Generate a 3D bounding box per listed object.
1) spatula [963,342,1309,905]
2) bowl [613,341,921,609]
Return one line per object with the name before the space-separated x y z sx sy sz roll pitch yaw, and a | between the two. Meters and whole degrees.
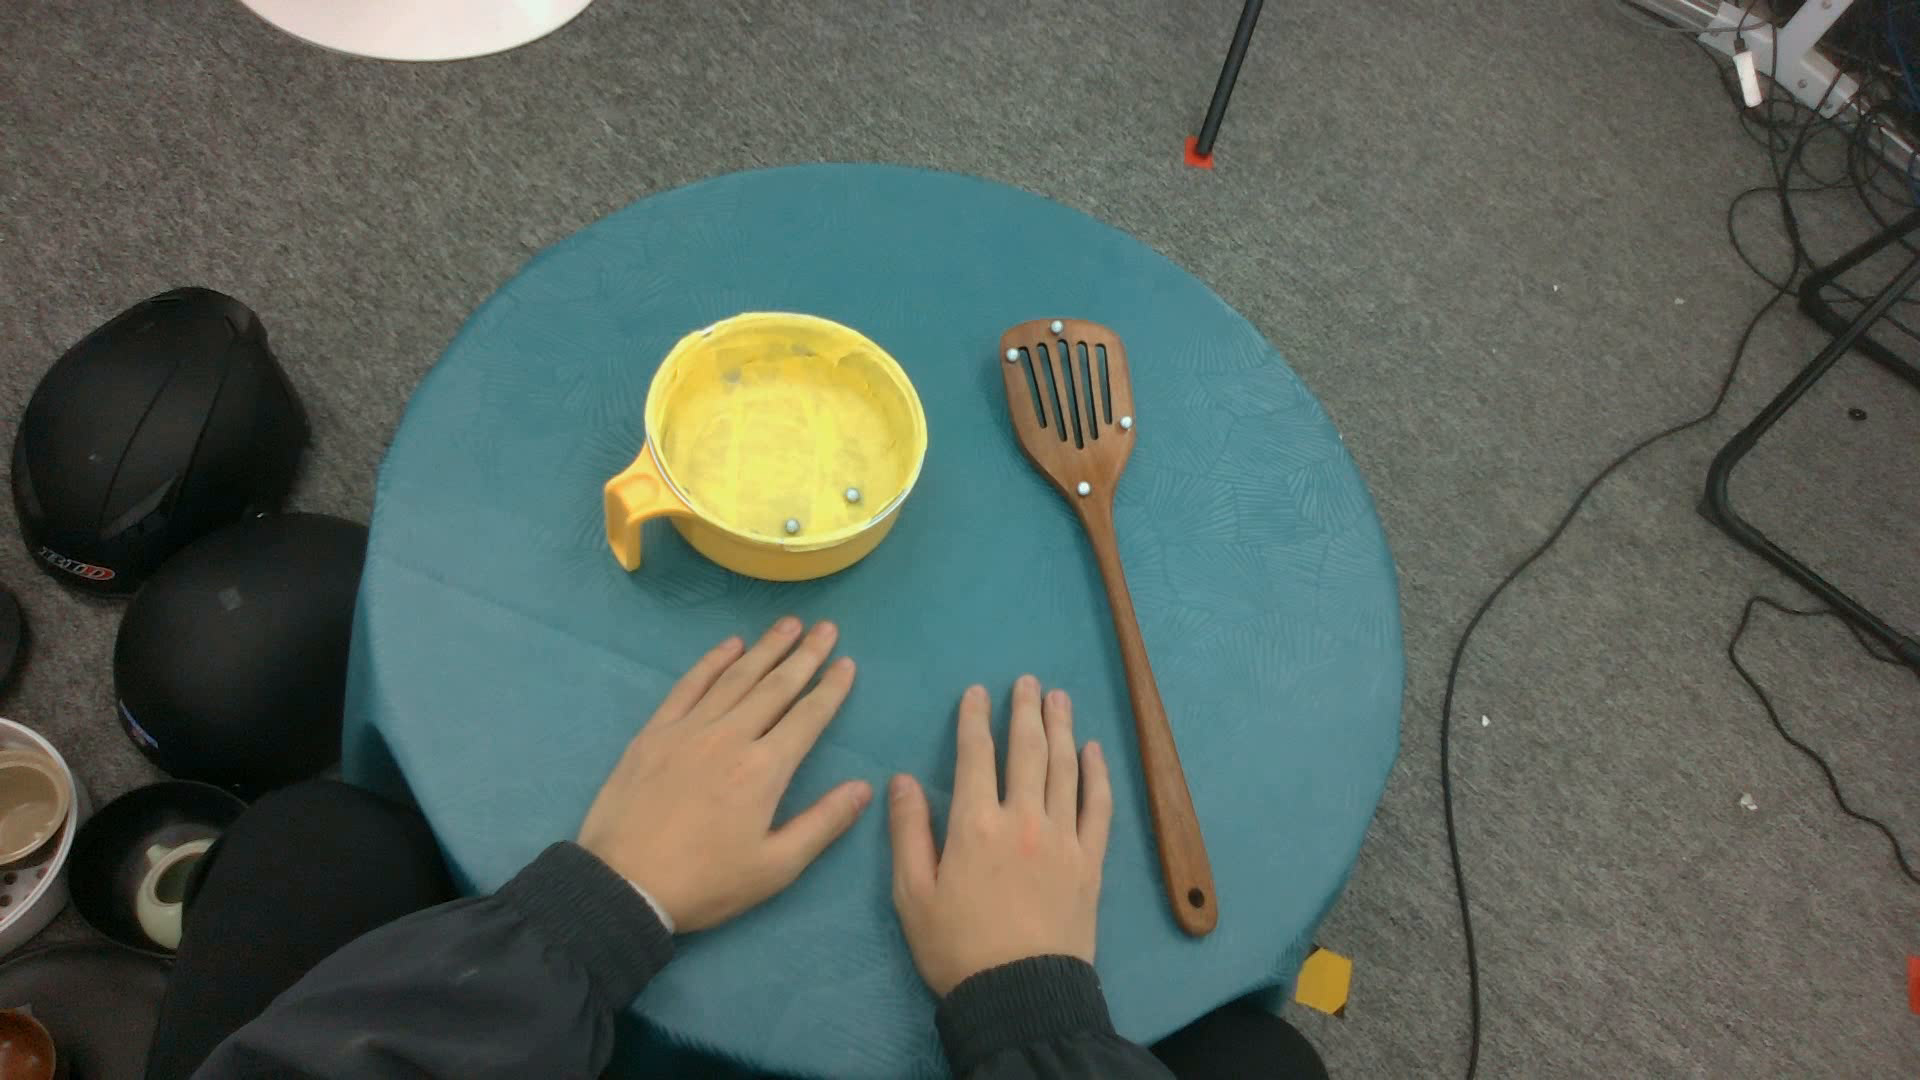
spatula | 0.107 0.036 0.816 0.085 0.024 0.387 -19 62 -11
bowl | -0.112 -0.030 0.784 0.180 0.074 0.153 -36 70 -26
